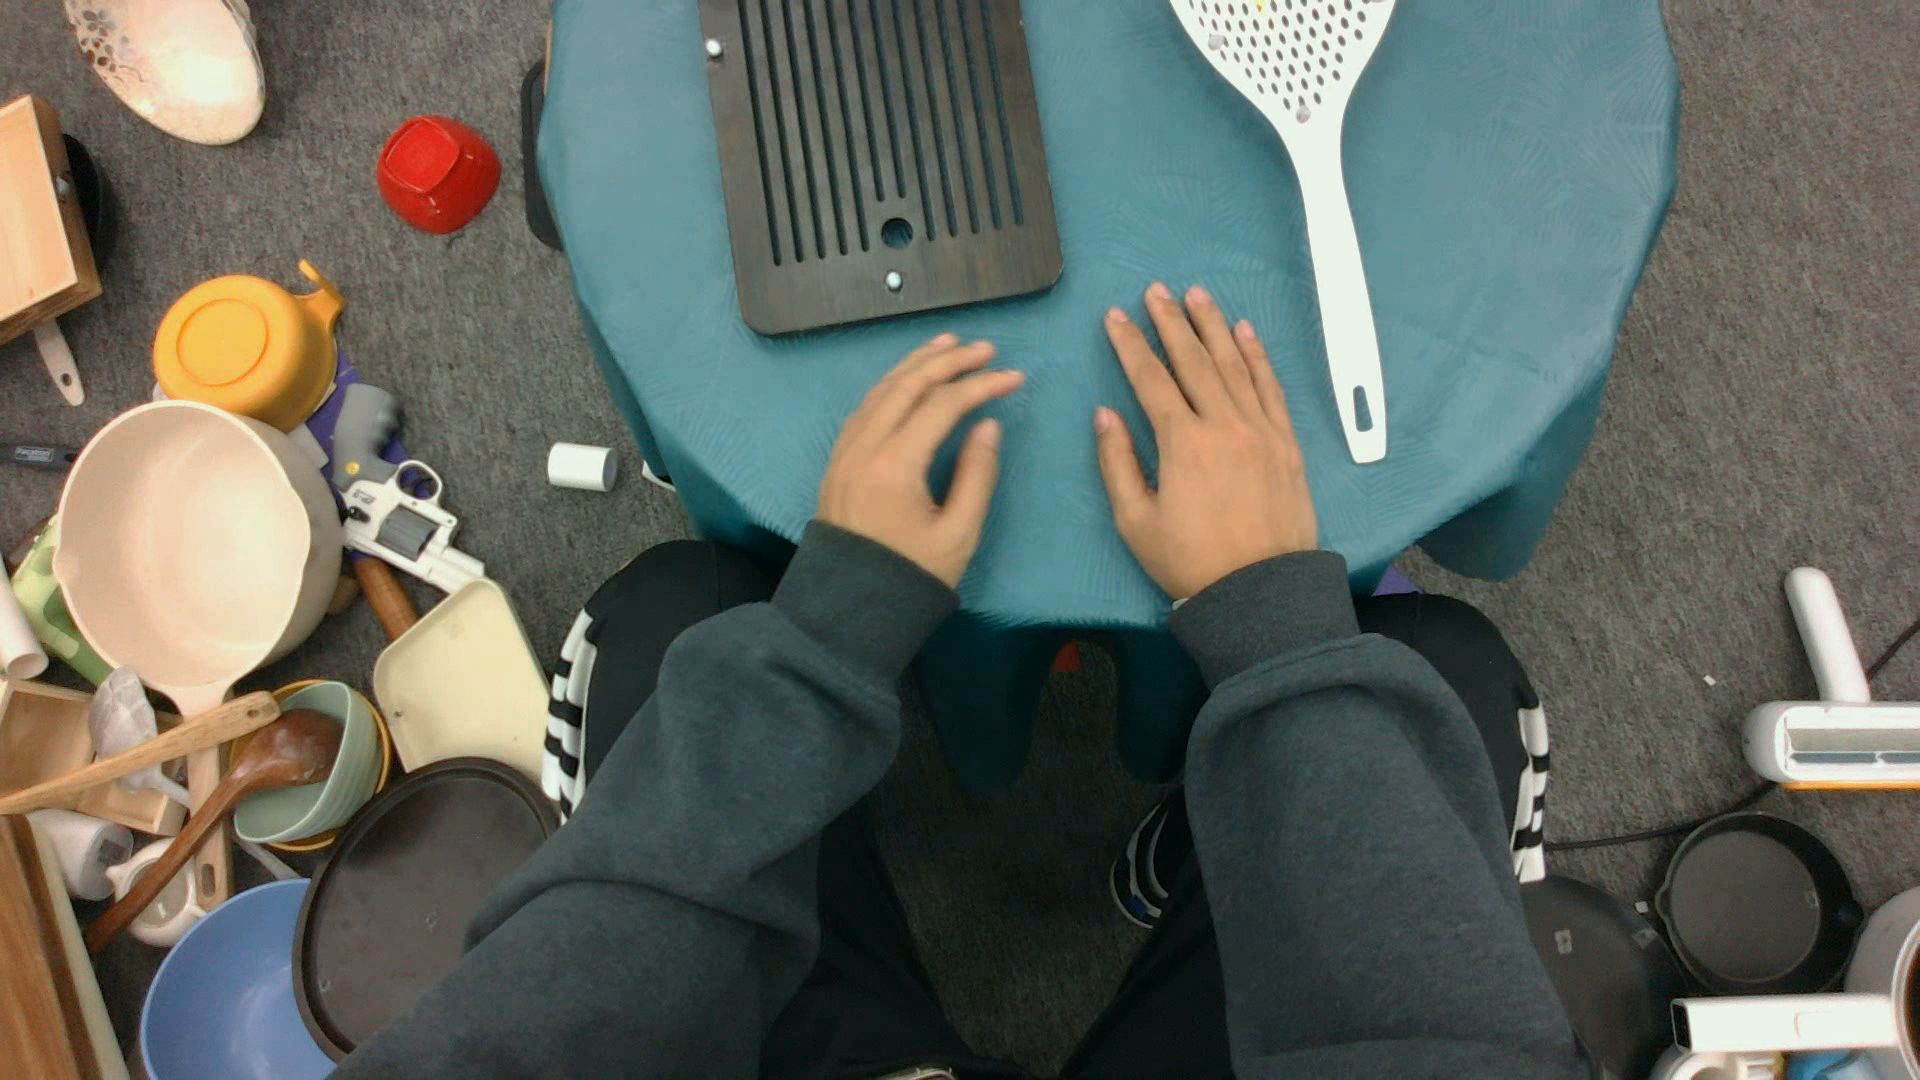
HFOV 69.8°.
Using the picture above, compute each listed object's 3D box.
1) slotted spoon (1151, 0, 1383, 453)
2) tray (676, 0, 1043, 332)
[{"bbox_3d":[0.171,-0.216,0.710,0.137,0.050,0.348,-10,79,-2],"label":"slotted spoon"},{"bbox_3d":[-0.063,-0.266,0.740,0.170,0.018,0.306,-9,79,0],"label":"tray"}]
